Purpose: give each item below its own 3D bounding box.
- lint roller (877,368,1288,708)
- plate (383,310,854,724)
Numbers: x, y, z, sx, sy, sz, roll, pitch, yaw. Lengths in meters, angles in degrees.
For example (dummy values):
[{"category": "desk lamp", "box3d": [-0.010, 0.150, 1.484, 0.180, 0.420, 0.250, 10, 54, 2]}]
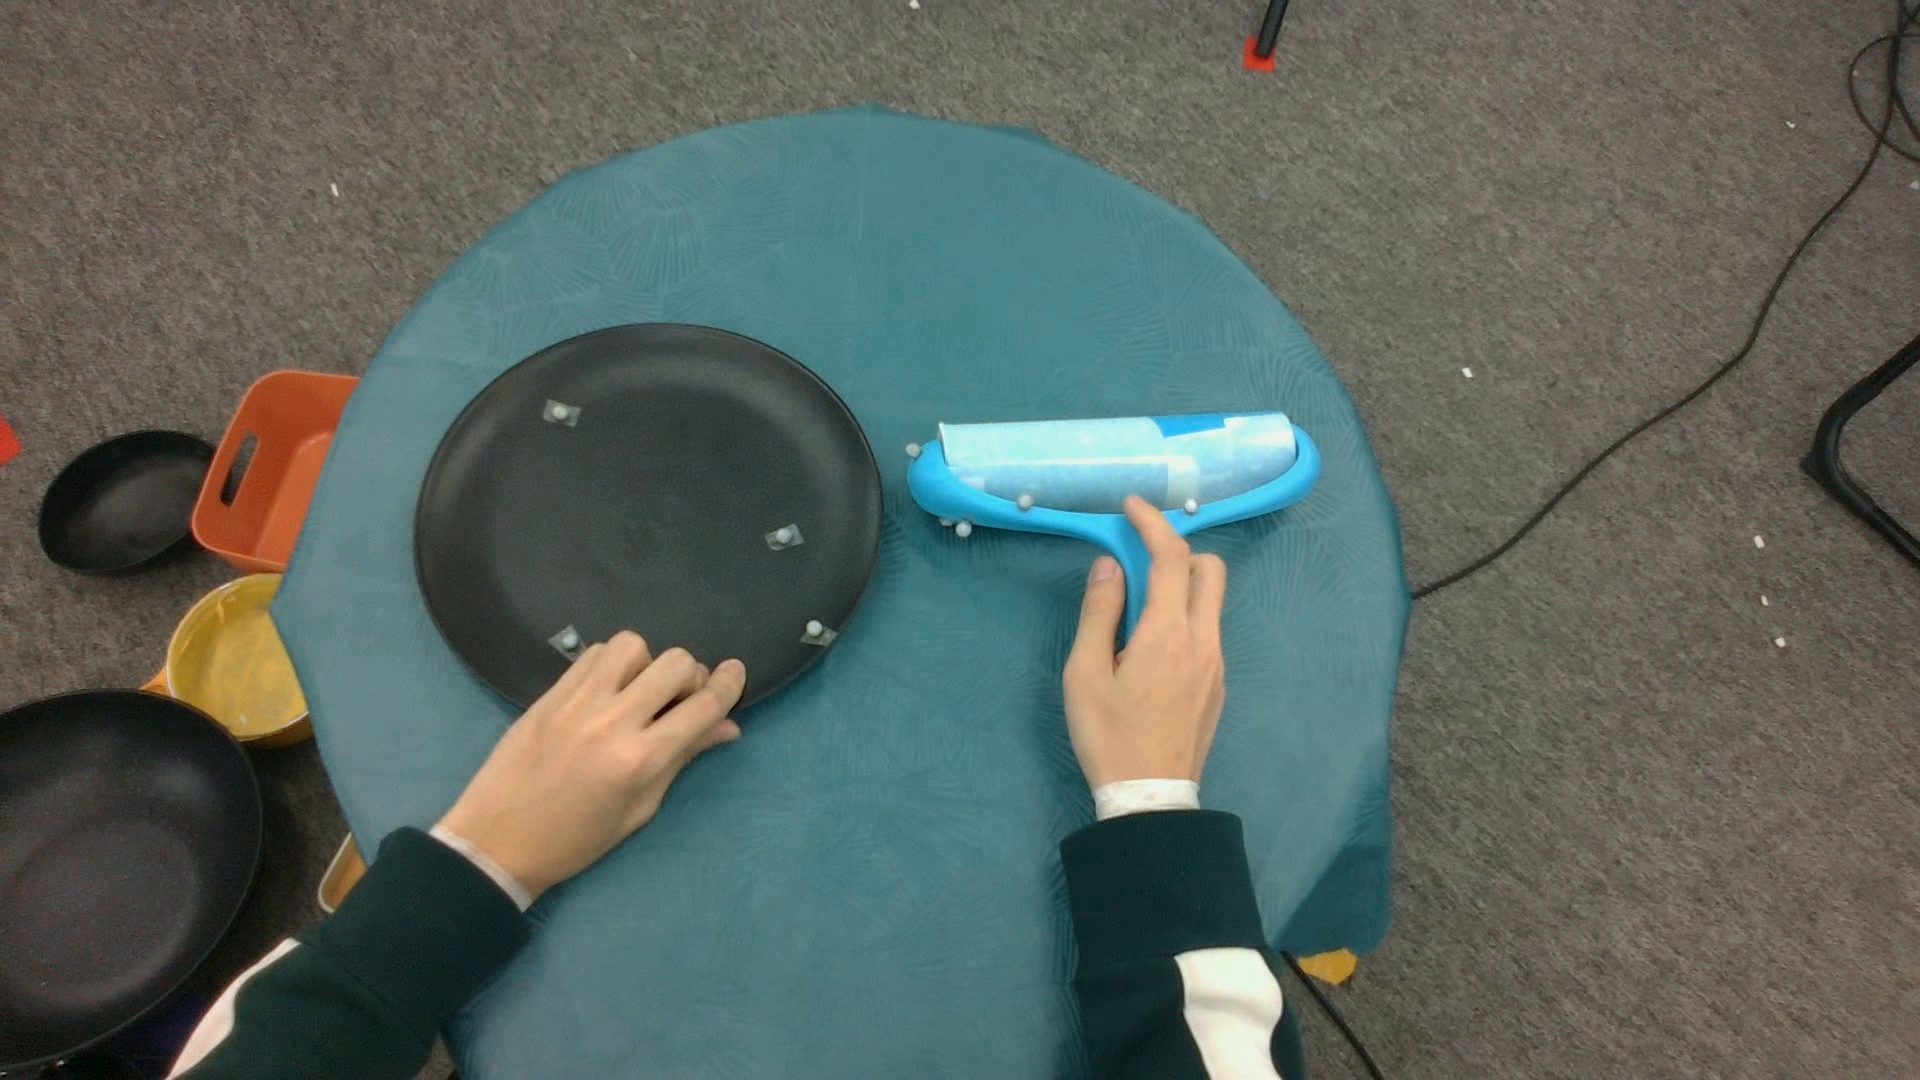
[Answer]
[{"category": "lint roller", "box3d": [0.079, -0.006, 0.736, 0.229, 0.067, 0.181, -8, 66, -10]}, {"category": "plate", "box3d": [-0.178, -0.016, 0.735, 0.244, 0.023, 0.245, 2, 64, -4]}]
